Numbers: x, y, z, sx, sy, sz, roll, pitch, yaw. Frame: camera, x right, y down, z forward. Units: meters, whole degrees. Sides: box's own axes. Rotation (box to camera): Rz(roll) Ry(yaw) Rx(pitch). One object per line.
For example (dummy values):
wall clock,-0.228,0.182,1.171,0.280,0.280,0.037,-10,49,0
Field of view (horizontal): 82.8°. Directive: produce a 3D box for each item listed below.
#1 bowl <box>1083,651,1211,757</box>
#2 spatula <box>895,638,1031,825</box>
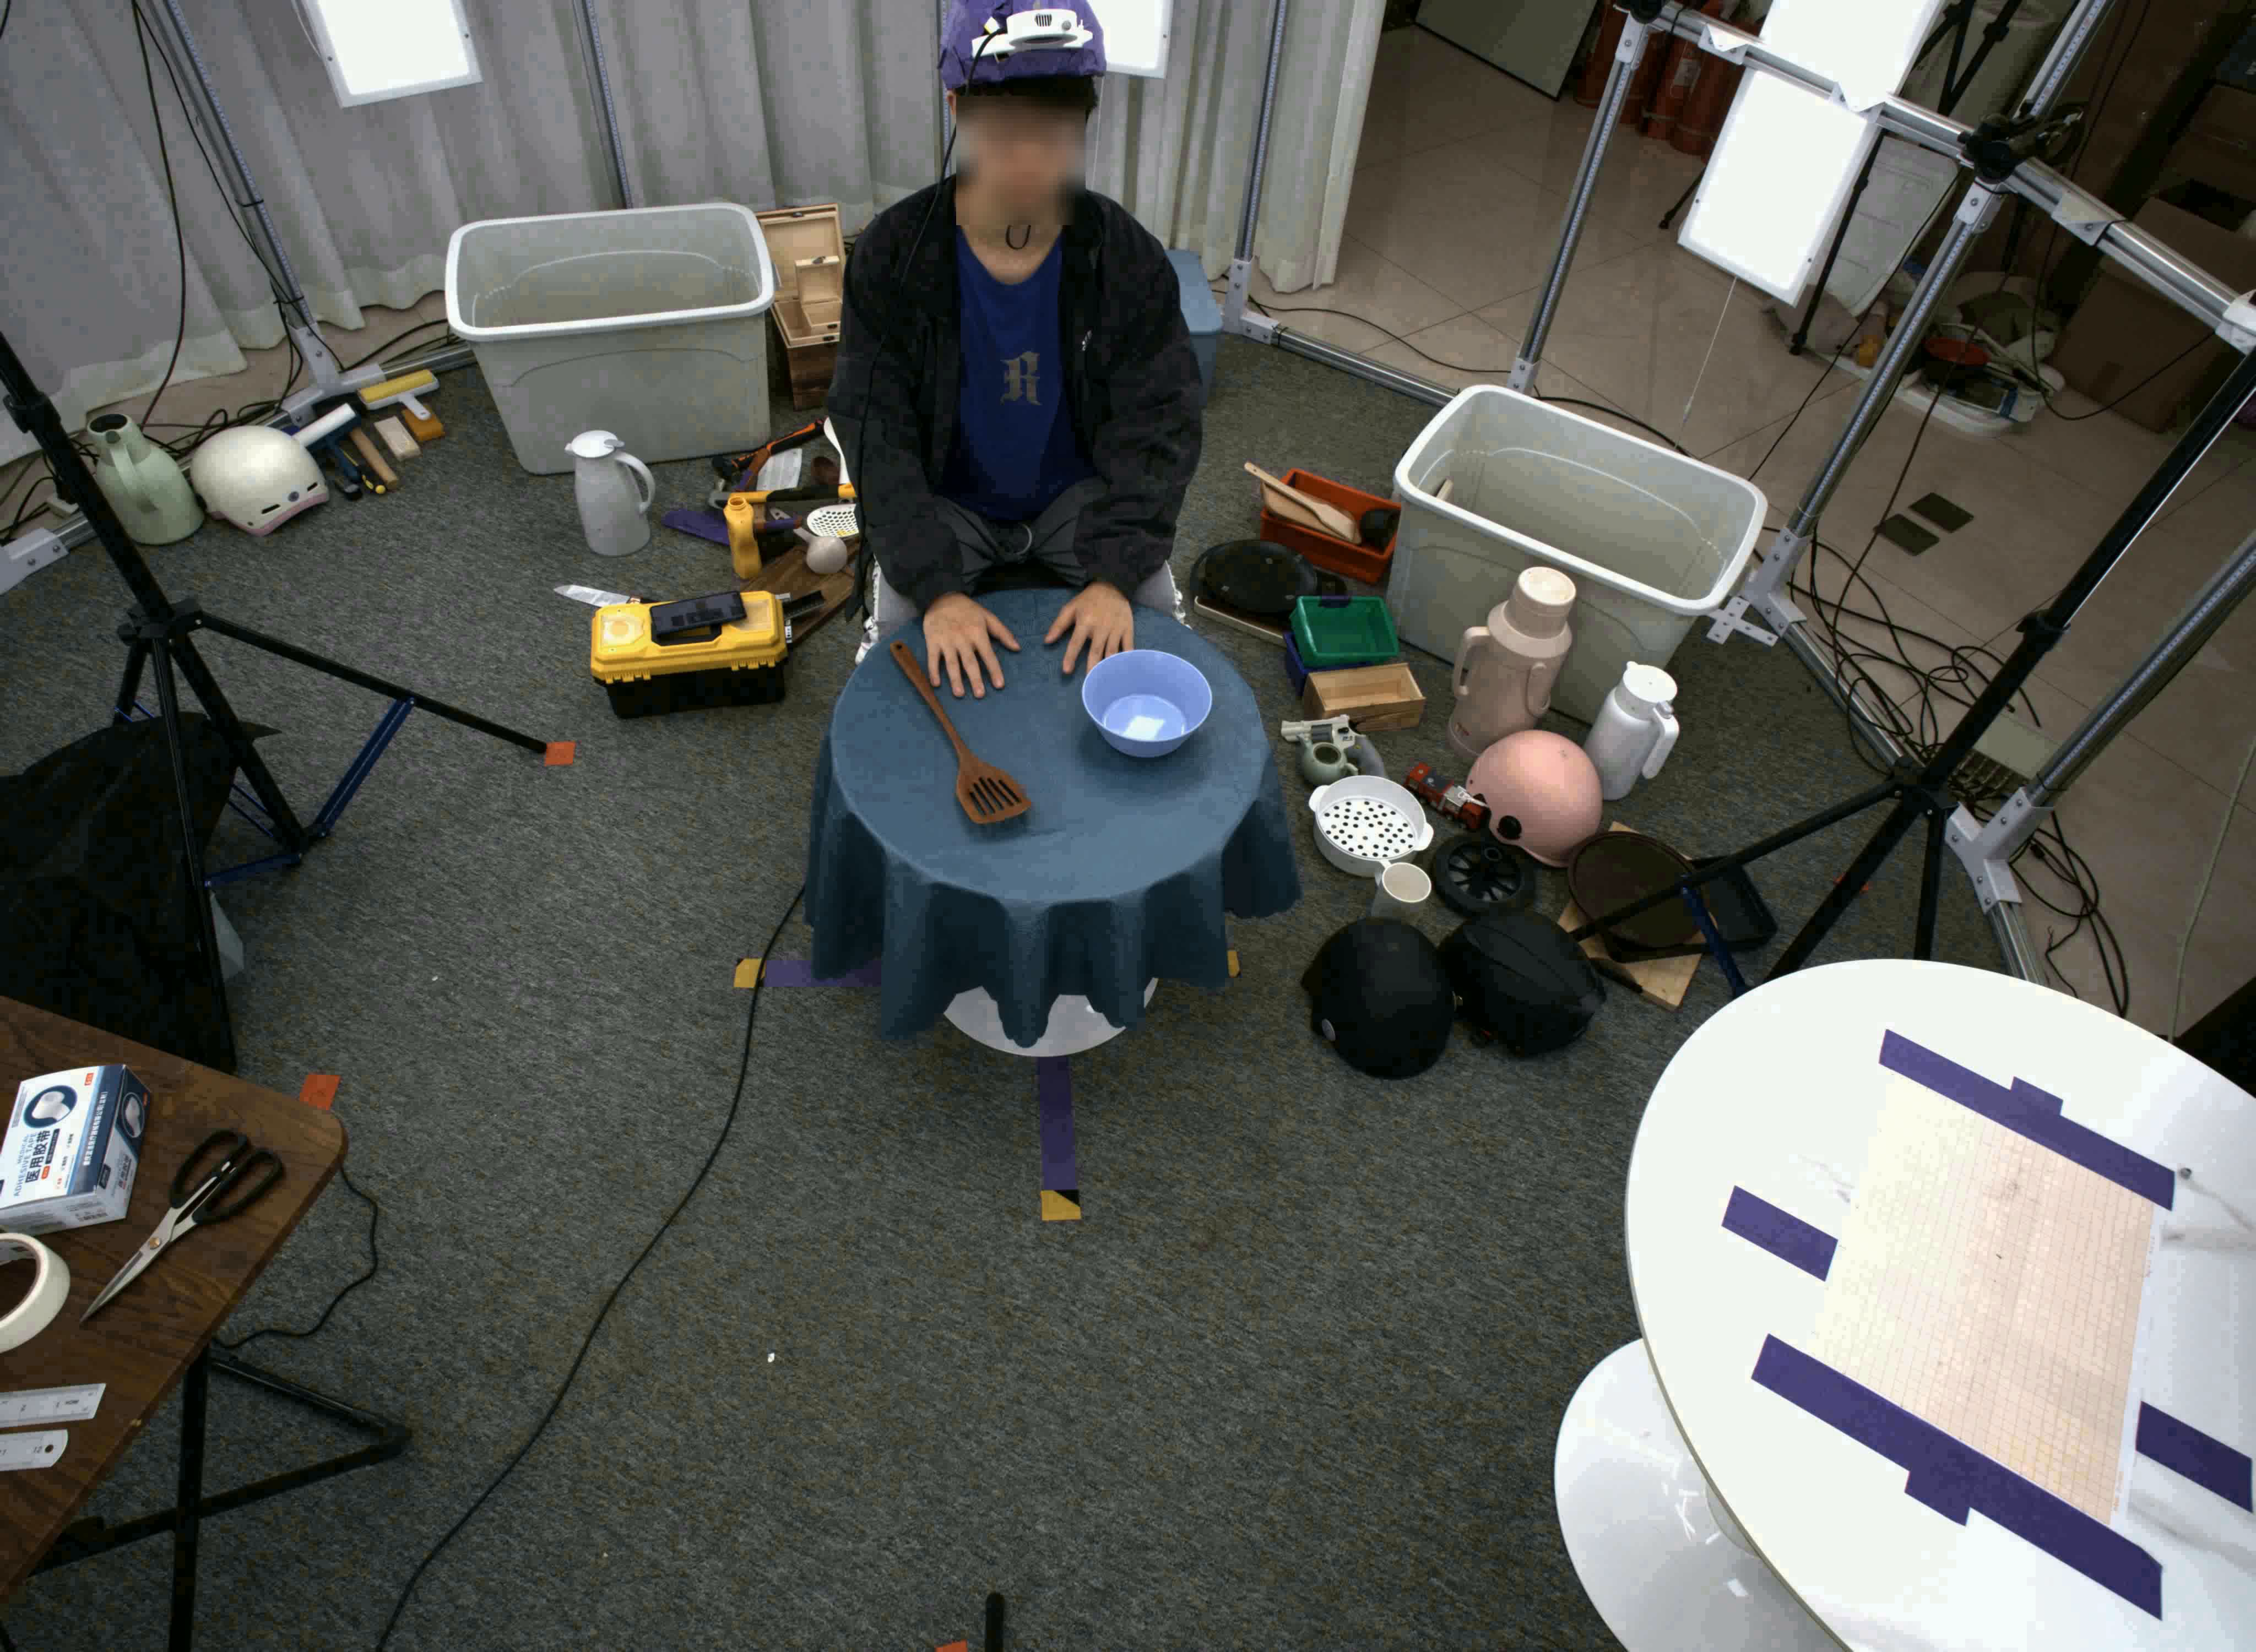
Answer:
bowl,0.024,-0.159,1.766,0.176,0.068,0.180,2,49,-2
spatula,-0.244,-0.136,1.762,0.085,0.023,0.395,-19,52,-19
